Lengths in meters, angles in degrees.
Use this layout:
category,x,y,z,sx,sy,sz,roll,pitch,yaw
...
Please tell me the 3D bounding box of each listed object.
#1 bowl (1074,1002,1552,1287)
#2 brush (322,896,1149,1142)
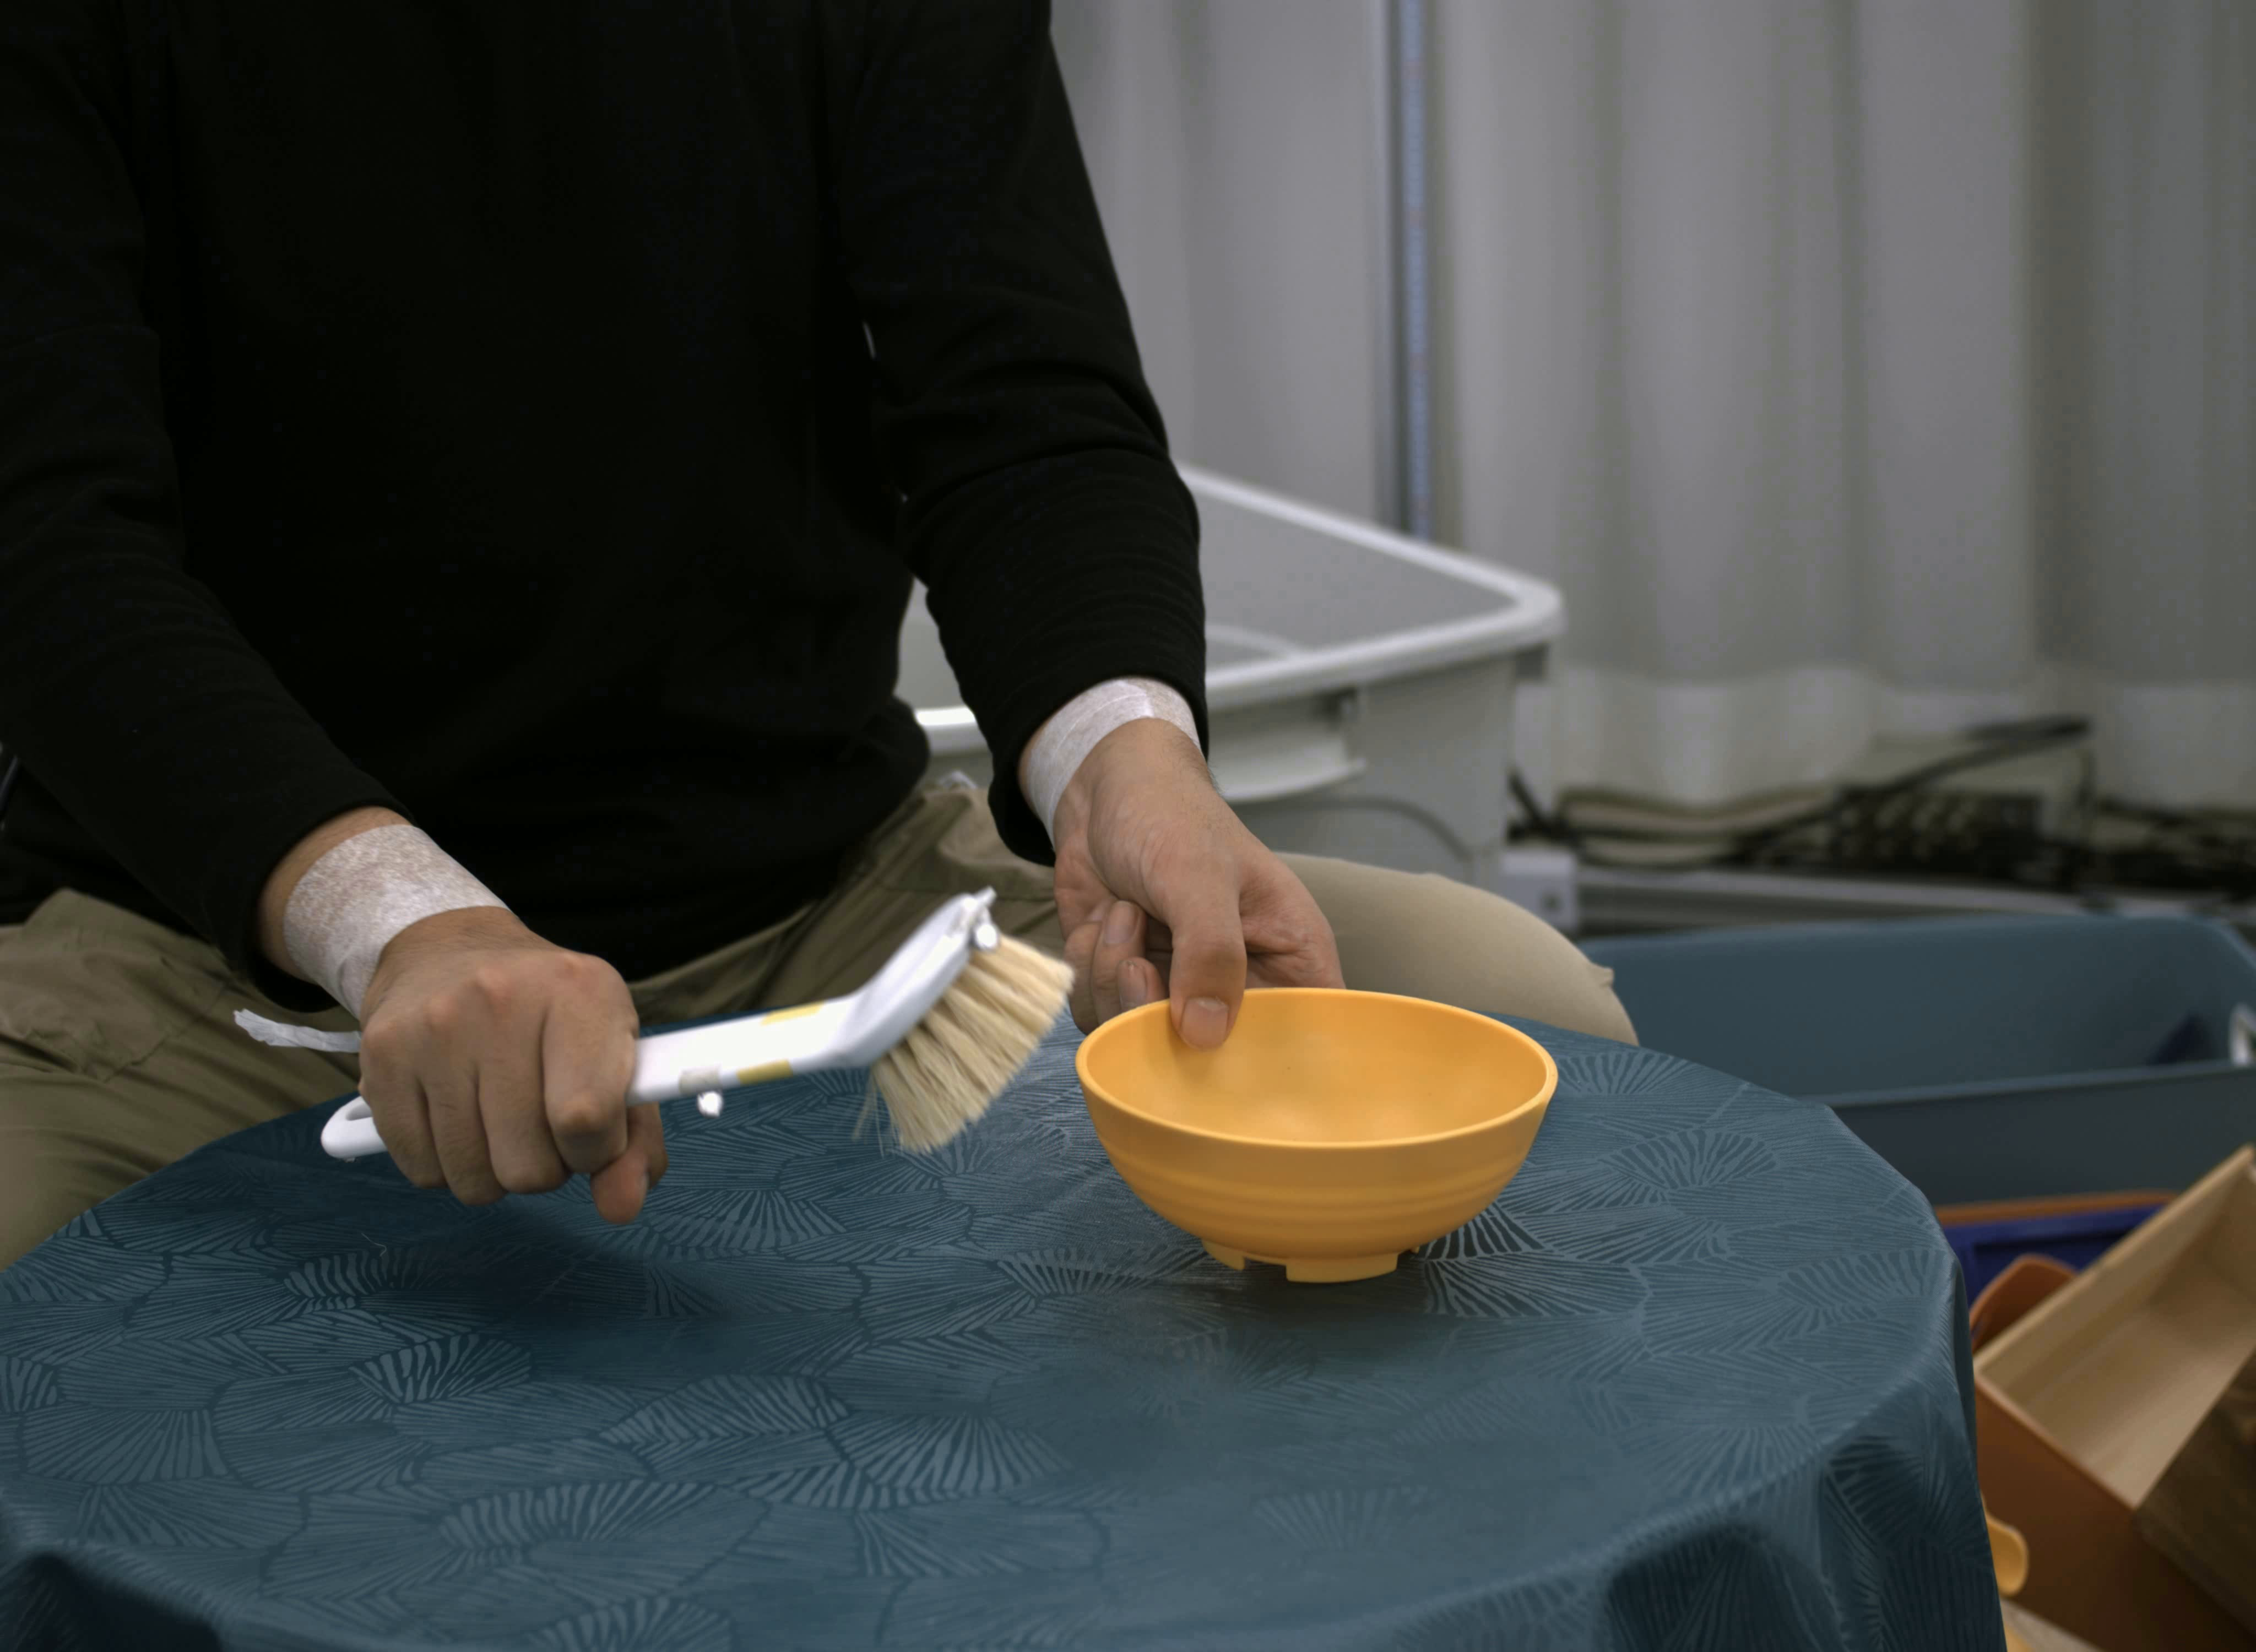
category,x,y,z,sx,sy,sz,roll,pitch,yaw
bowl,0.054,0.100,1.640,0.145,0.060,0.146,1,14,0
brush,-0.117,0.076,1.631,0.266,0.056,0.069,-13,17,22
